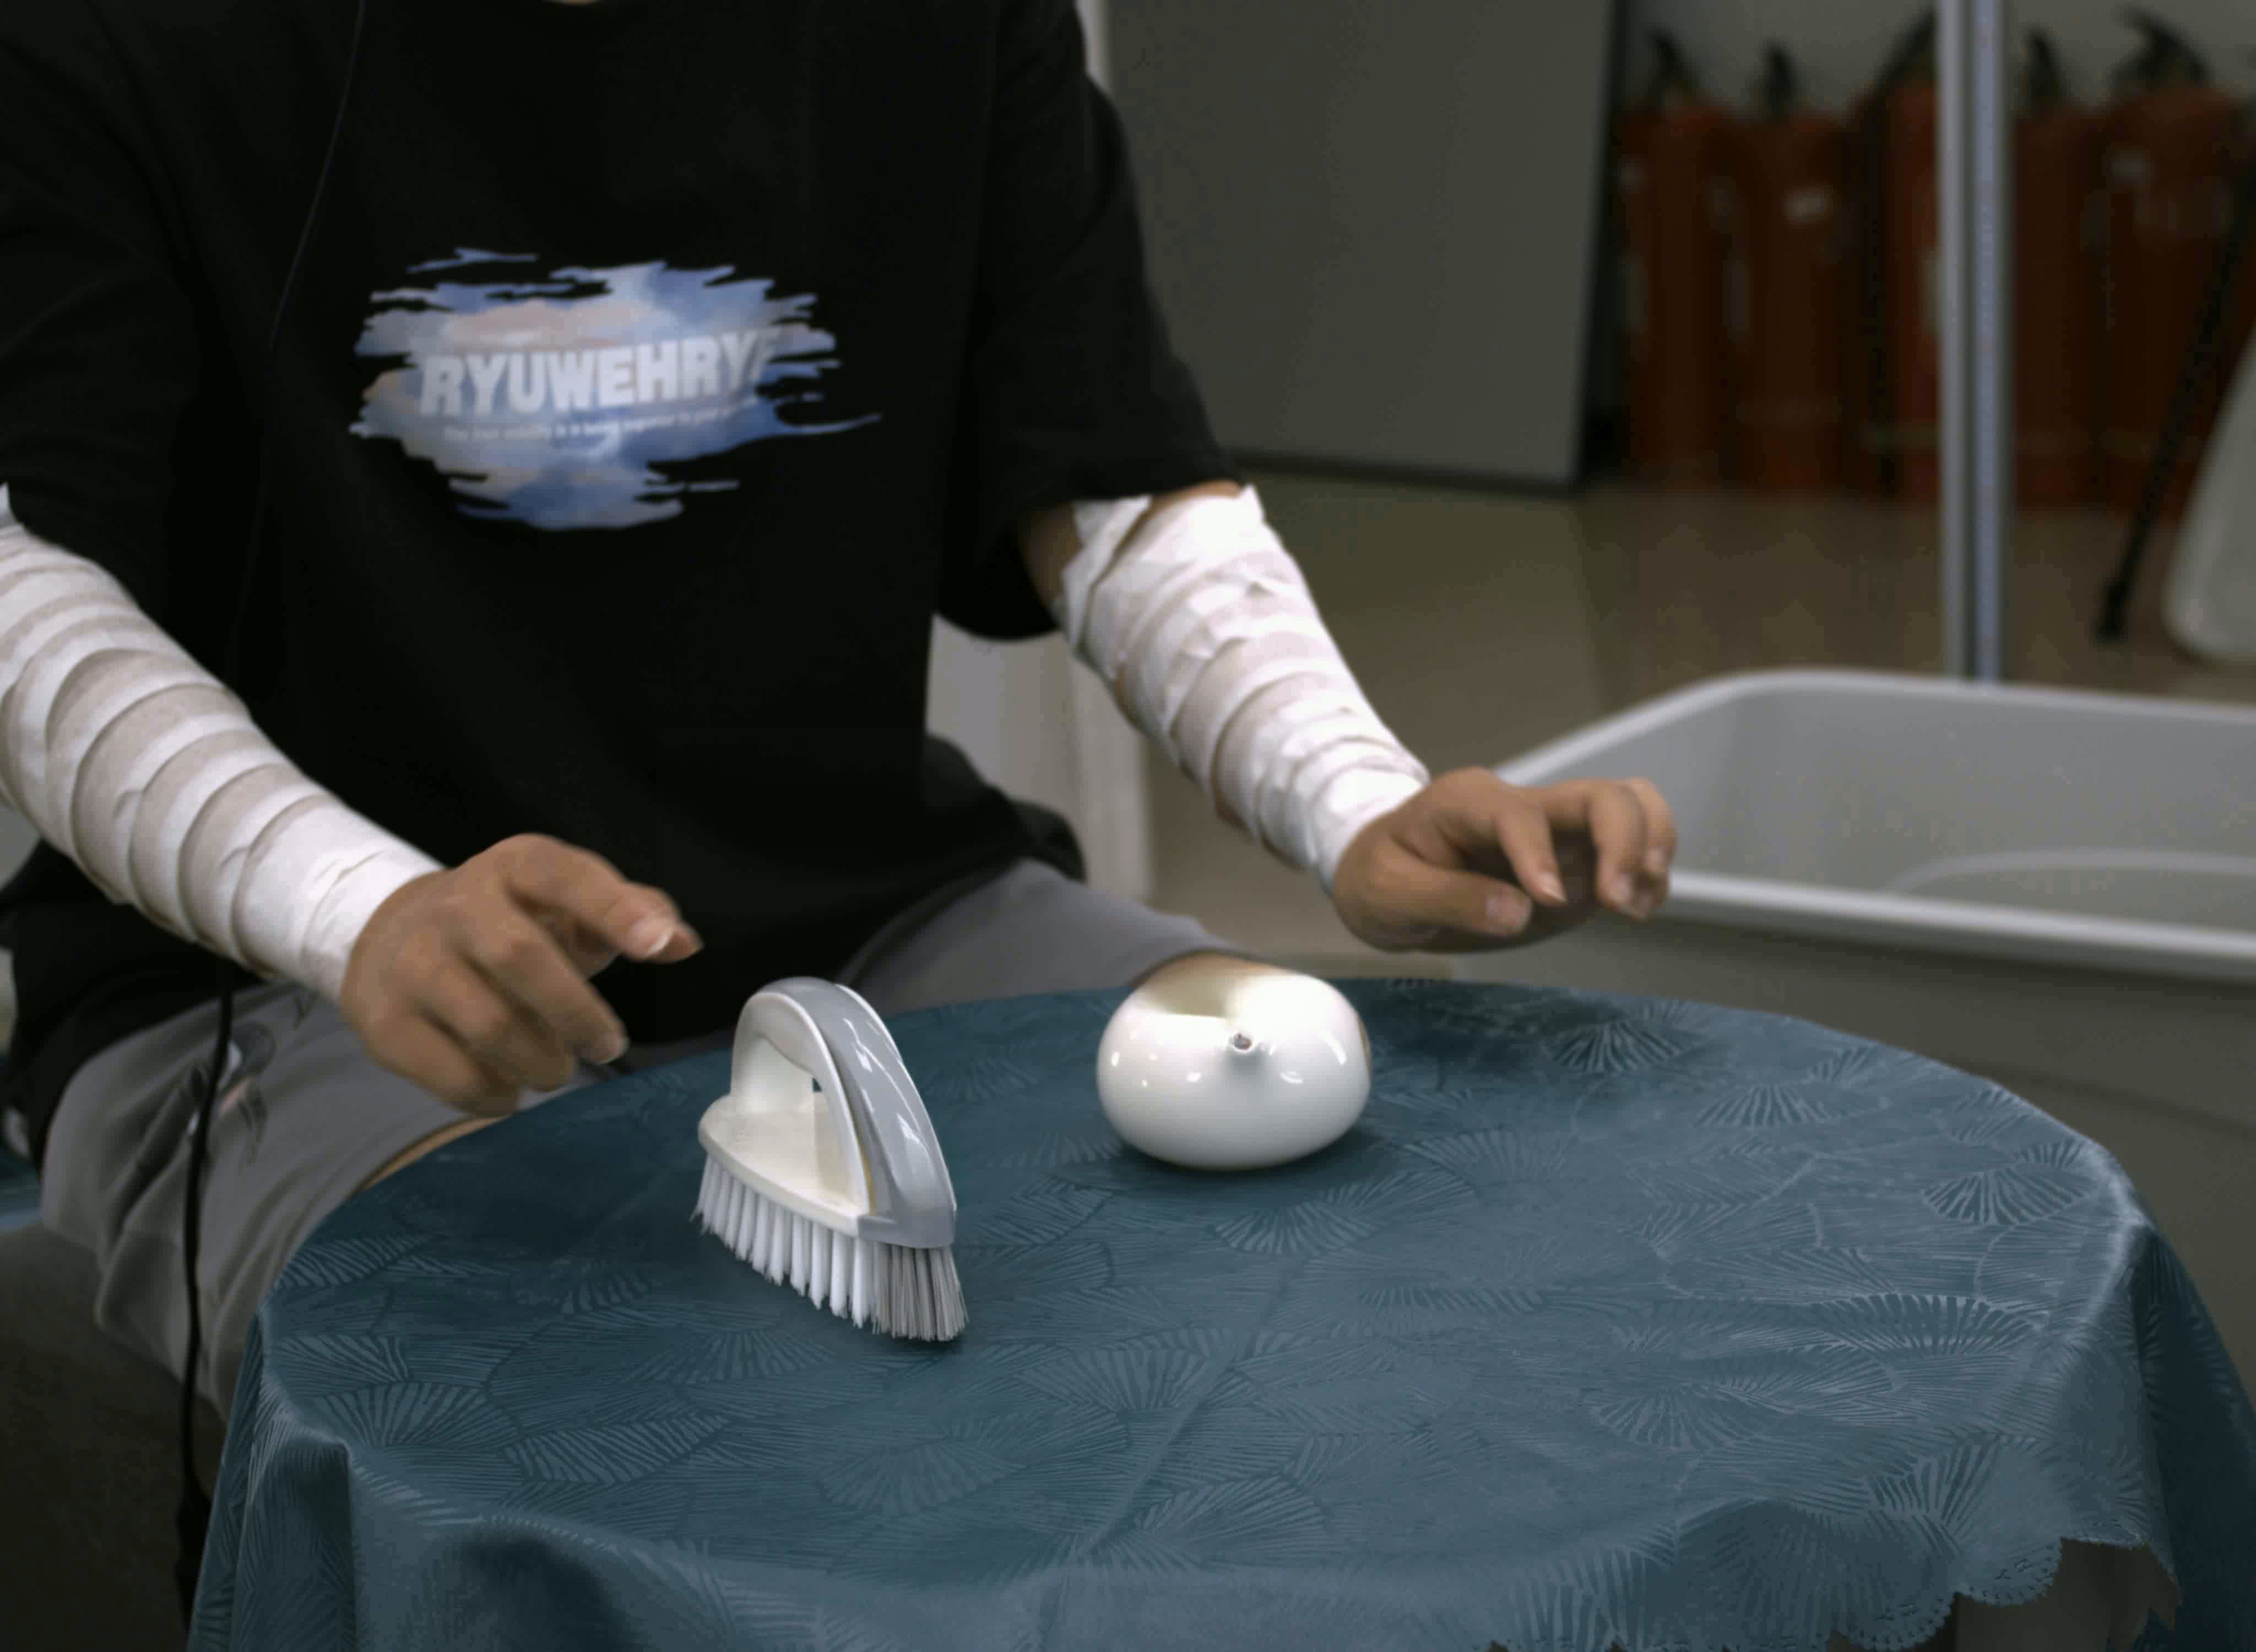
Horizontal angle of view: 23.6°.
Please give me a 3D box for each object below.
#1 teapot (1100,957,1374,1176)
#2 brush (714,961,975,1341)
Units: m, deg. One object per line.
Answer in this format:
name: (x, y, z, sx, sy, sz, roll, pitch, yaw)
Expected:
teapot: (0.035, 0.080, 1.817, 0.092, 0.057, 0.128, -9, 13, -5)
brush: (-0.085, 0.097, 1.701, 0.060, 0.095, 0.177, -10, 17, -18)
